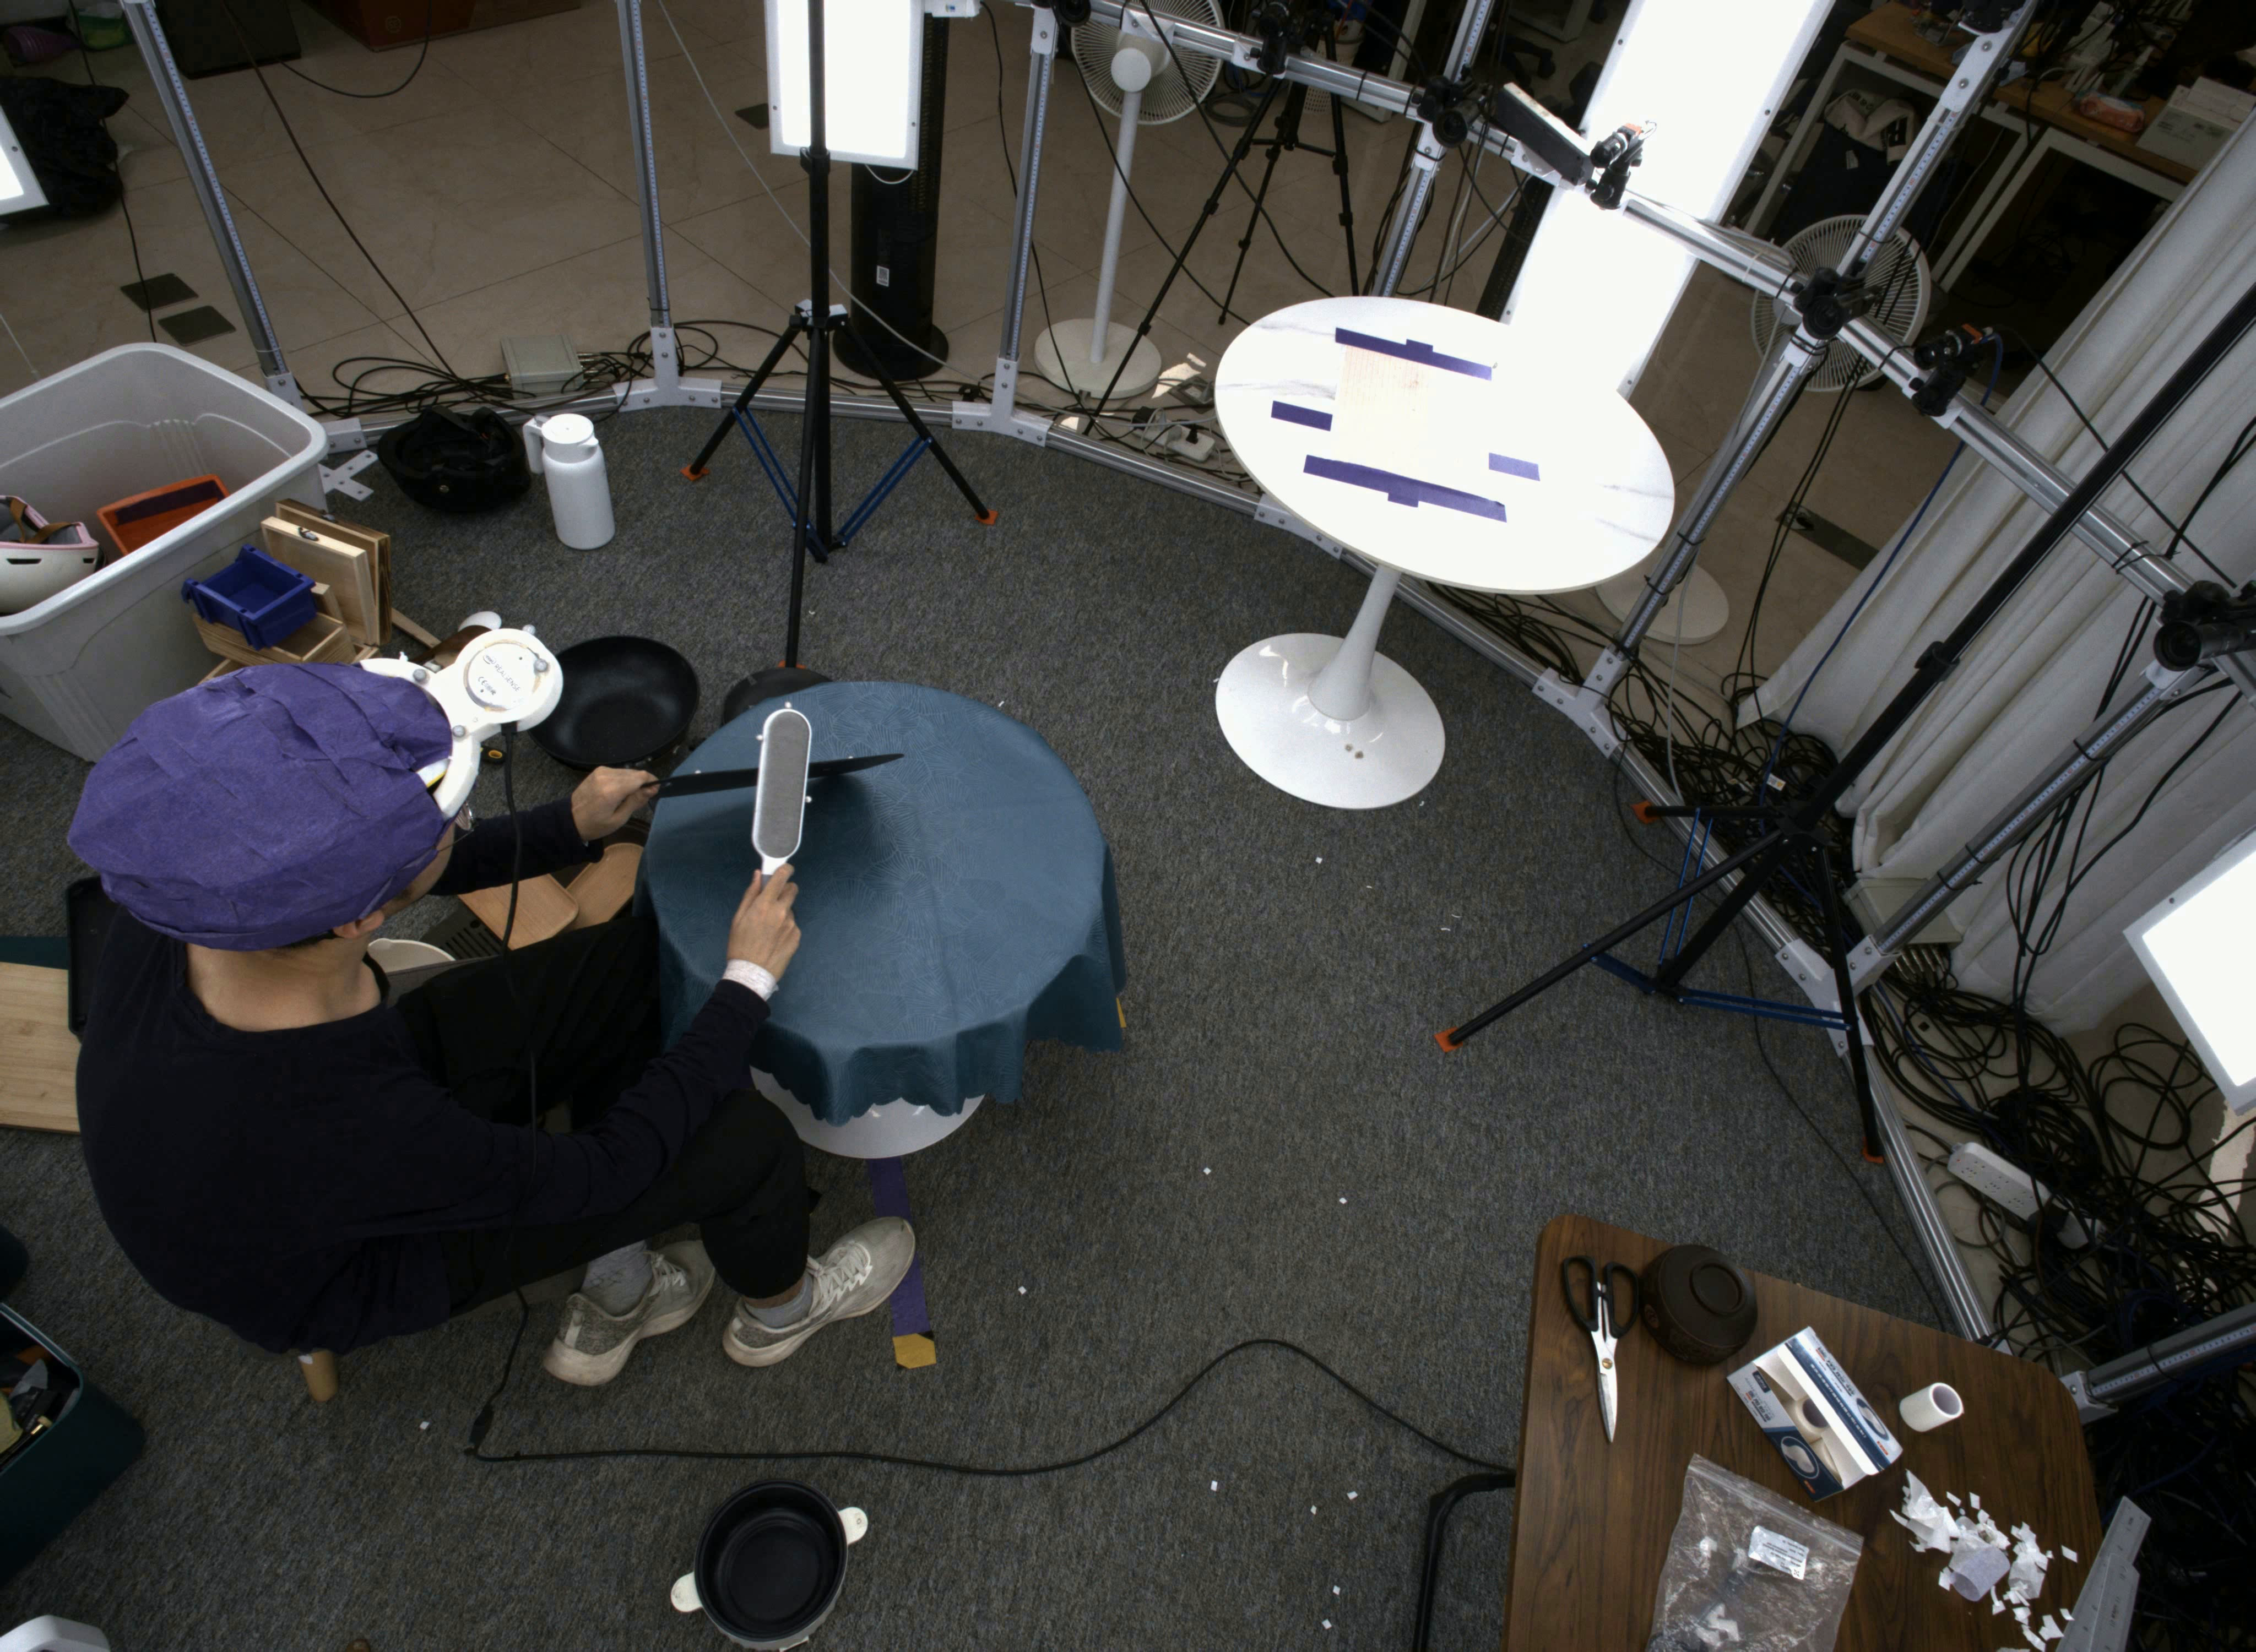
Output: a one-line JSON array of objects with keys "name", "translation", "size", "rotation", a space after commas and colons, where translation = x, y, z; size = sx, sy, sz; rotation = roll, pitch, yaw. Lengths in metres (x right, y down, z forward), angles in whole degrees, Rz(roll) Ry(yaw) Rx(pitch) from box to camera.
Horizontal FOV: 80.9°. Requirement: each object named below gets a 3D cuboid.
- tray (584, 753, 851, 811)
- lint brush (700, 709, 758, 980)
[{"name": "tray", "translation": [-0.518, -0.056, 1.609], "size": [0.329, 0.206, 0.010], "rotation": [-11, 89, -35]}, {"name": "lint brush", "translation": [-0.469, 0.021, 1.502], "size": [0.061, 0.020, 0.312], "rotation": [3, 91, -31]}]
